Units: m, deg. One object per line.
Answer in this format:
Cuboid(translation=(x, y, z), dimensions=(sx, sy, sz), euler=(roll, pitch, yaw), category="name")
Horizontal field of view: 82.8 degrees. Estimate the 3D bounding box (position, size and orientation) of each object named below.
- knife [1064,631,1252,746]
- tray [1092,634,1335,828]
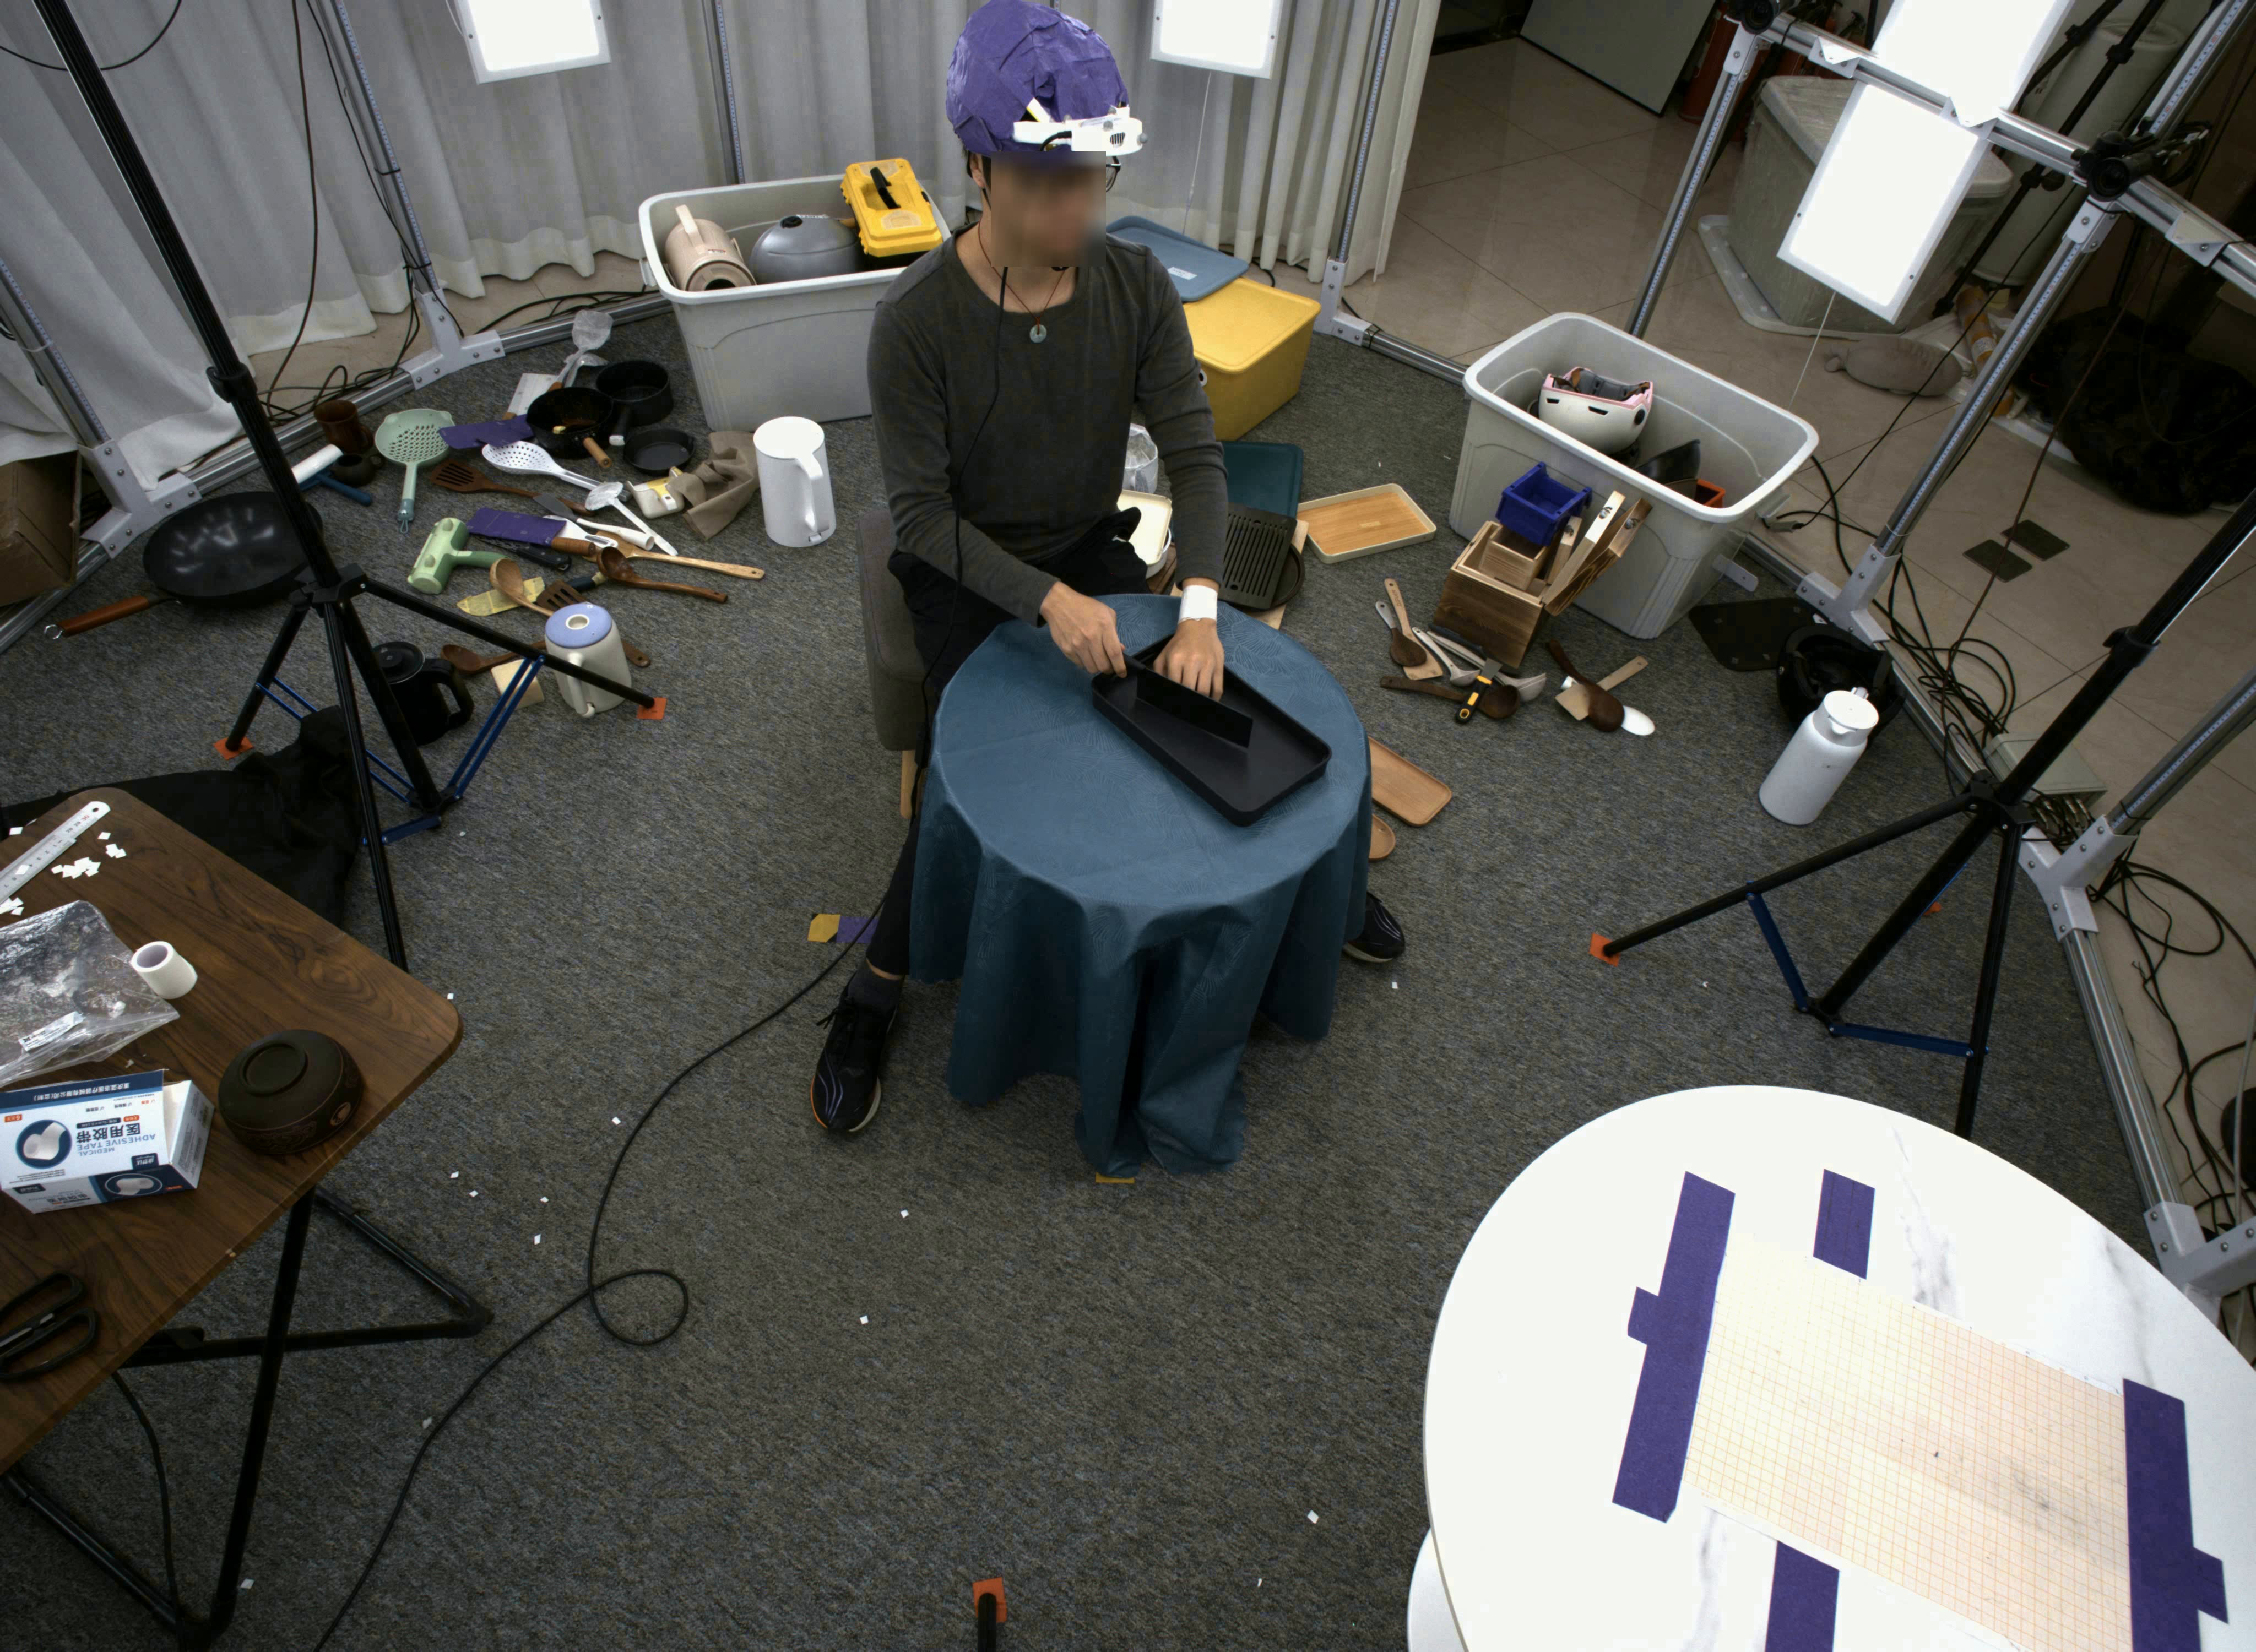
Cuboid(translation=(0.040, -0.194, 1.780), dimensions=(0.305, 0.079, 0.021), euler=(30, 55, 16), category="knife")
Cuboid(translation=(0.114, -0.137, 1.770), dimensions=(0.186, 0.036, 0.323), euler=(-34, 59, -29), category="tray")
